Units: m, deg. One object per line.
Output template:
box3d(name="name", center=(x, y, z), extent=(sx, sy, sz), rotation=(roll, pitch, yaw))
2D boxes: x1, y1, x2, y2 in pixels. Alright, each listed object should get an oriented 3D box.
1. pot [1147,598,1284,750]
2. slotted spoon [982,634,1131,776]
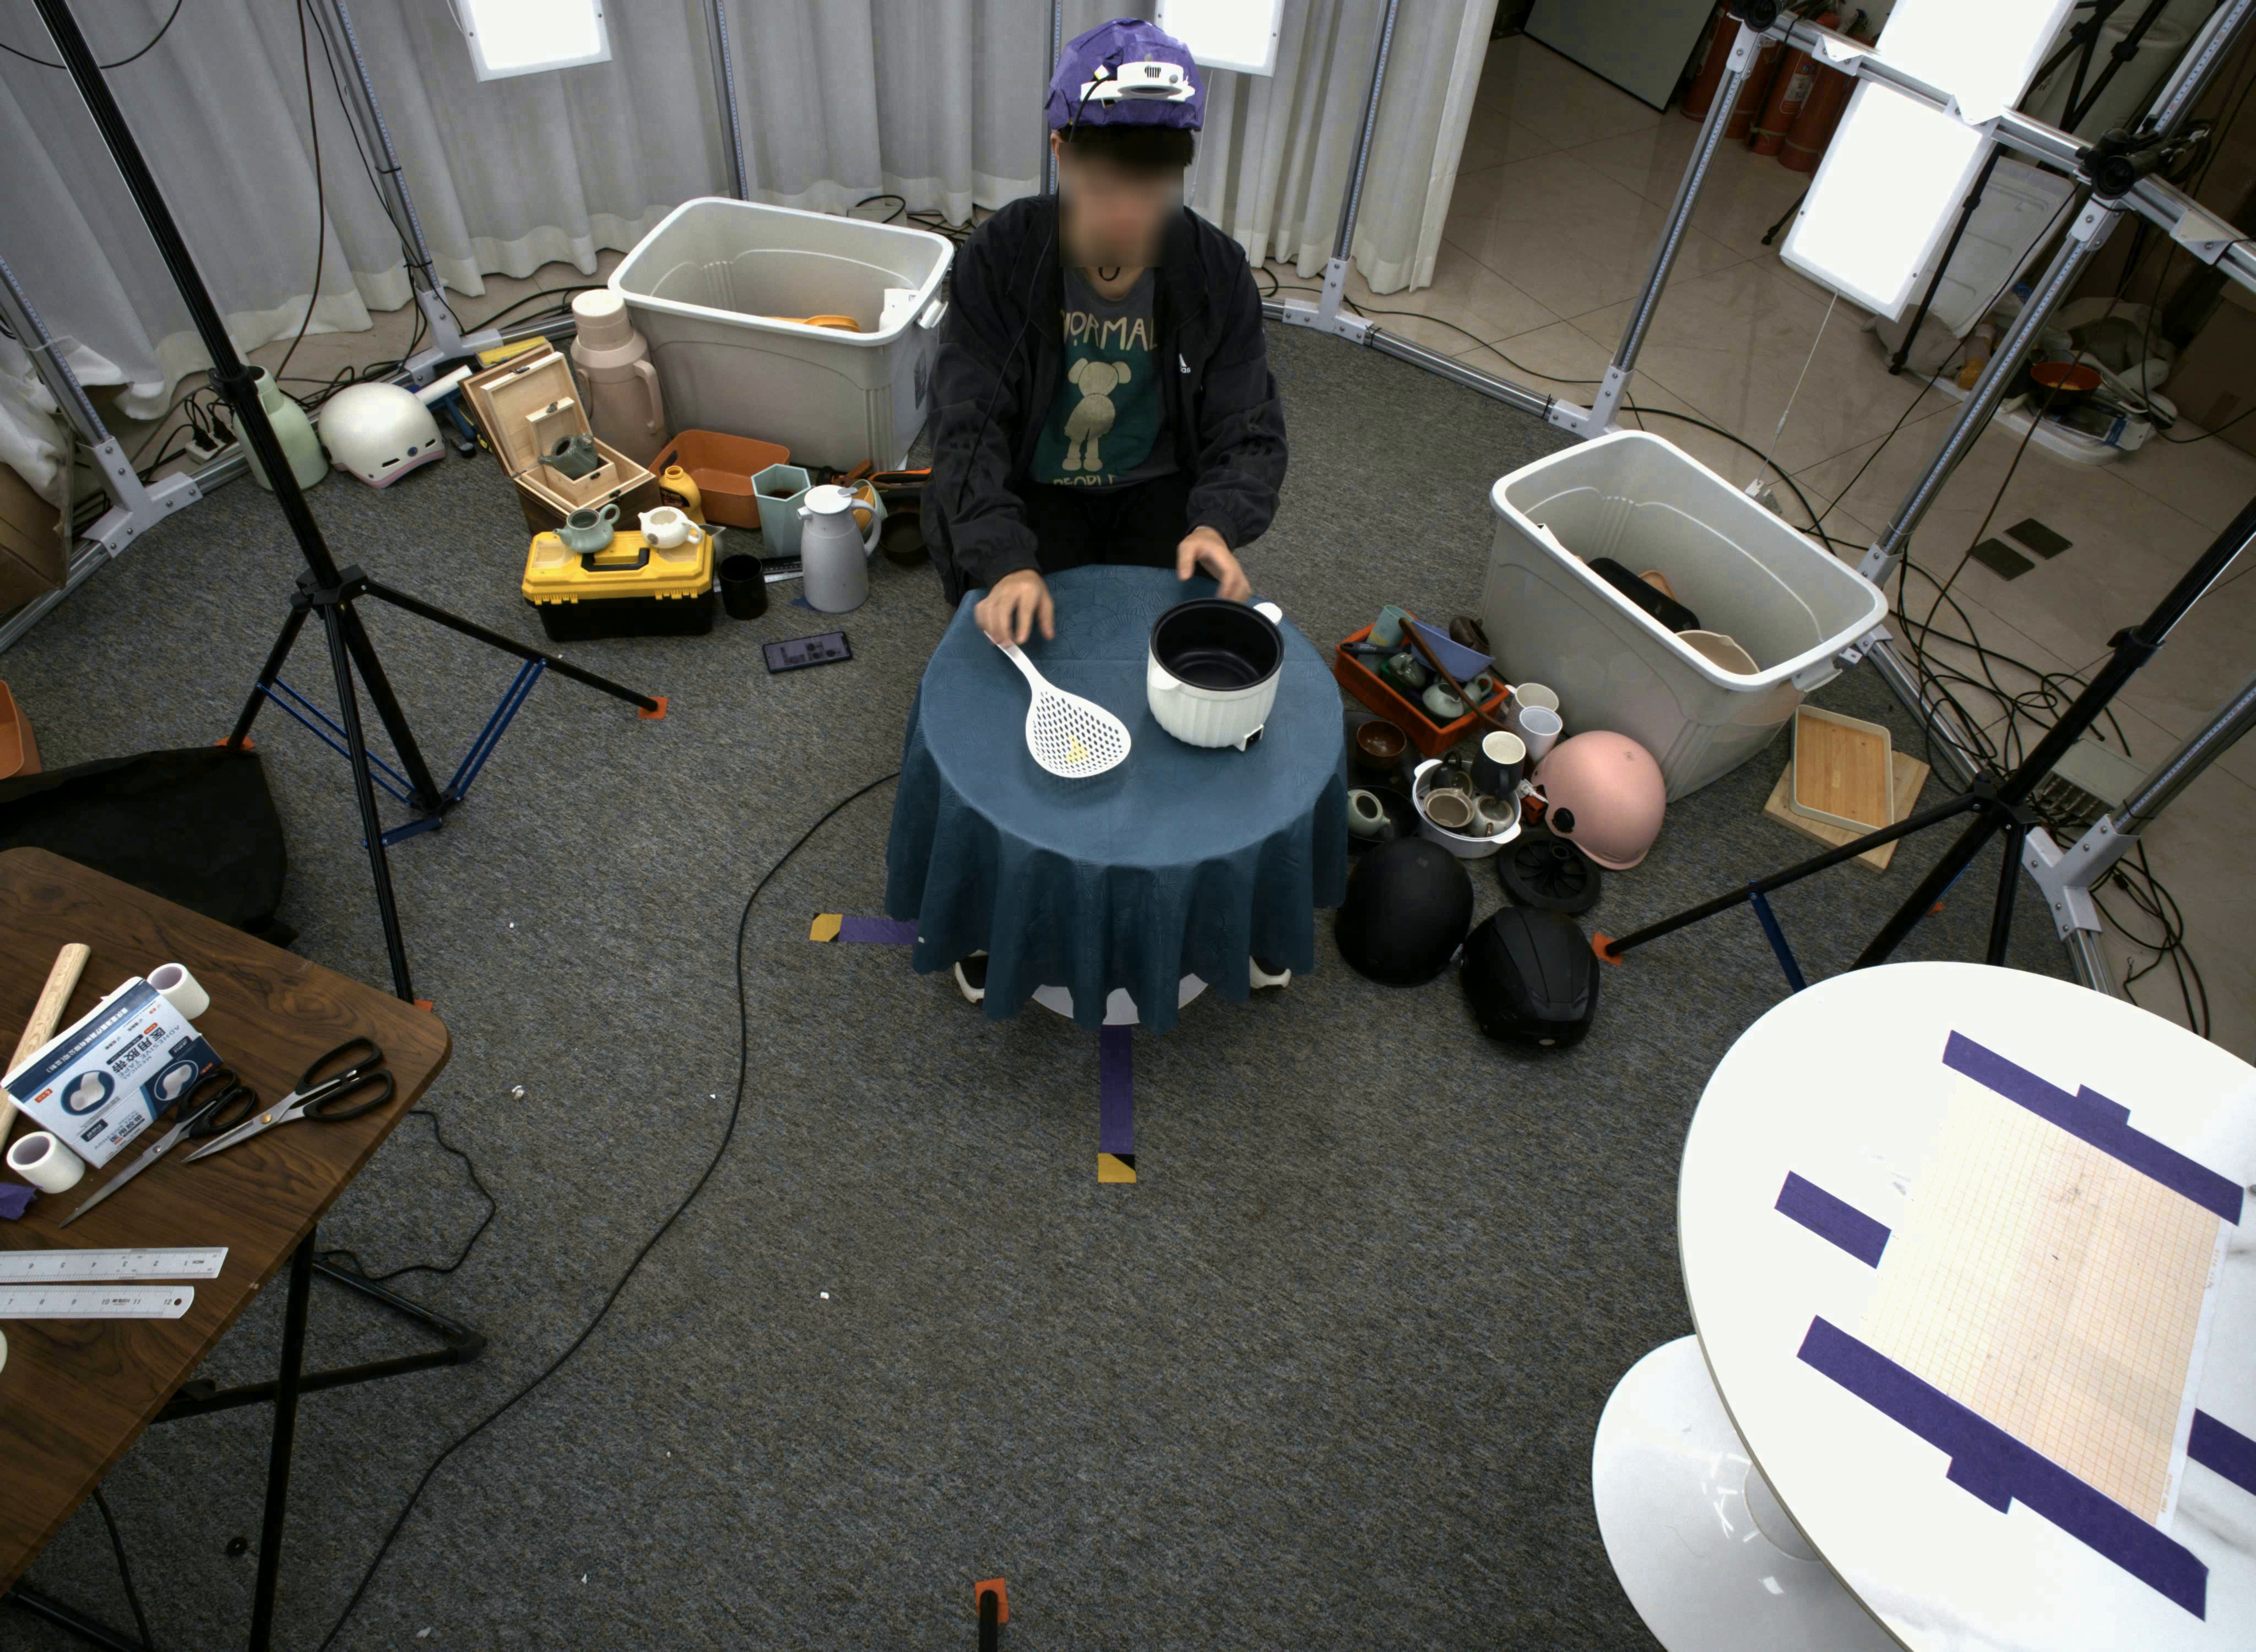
box3d(name="pot", center=(0.110, -0.206, 1.763), extent=(0.242, 0.139, 0.193), rotation=(-34, 61, -30))
box3d(name="slotted spoon", center=(-0.119, -0.181, 1.789), extent=(0.137, 0.049, 0.355), rotation=(-22, 54, -18))
